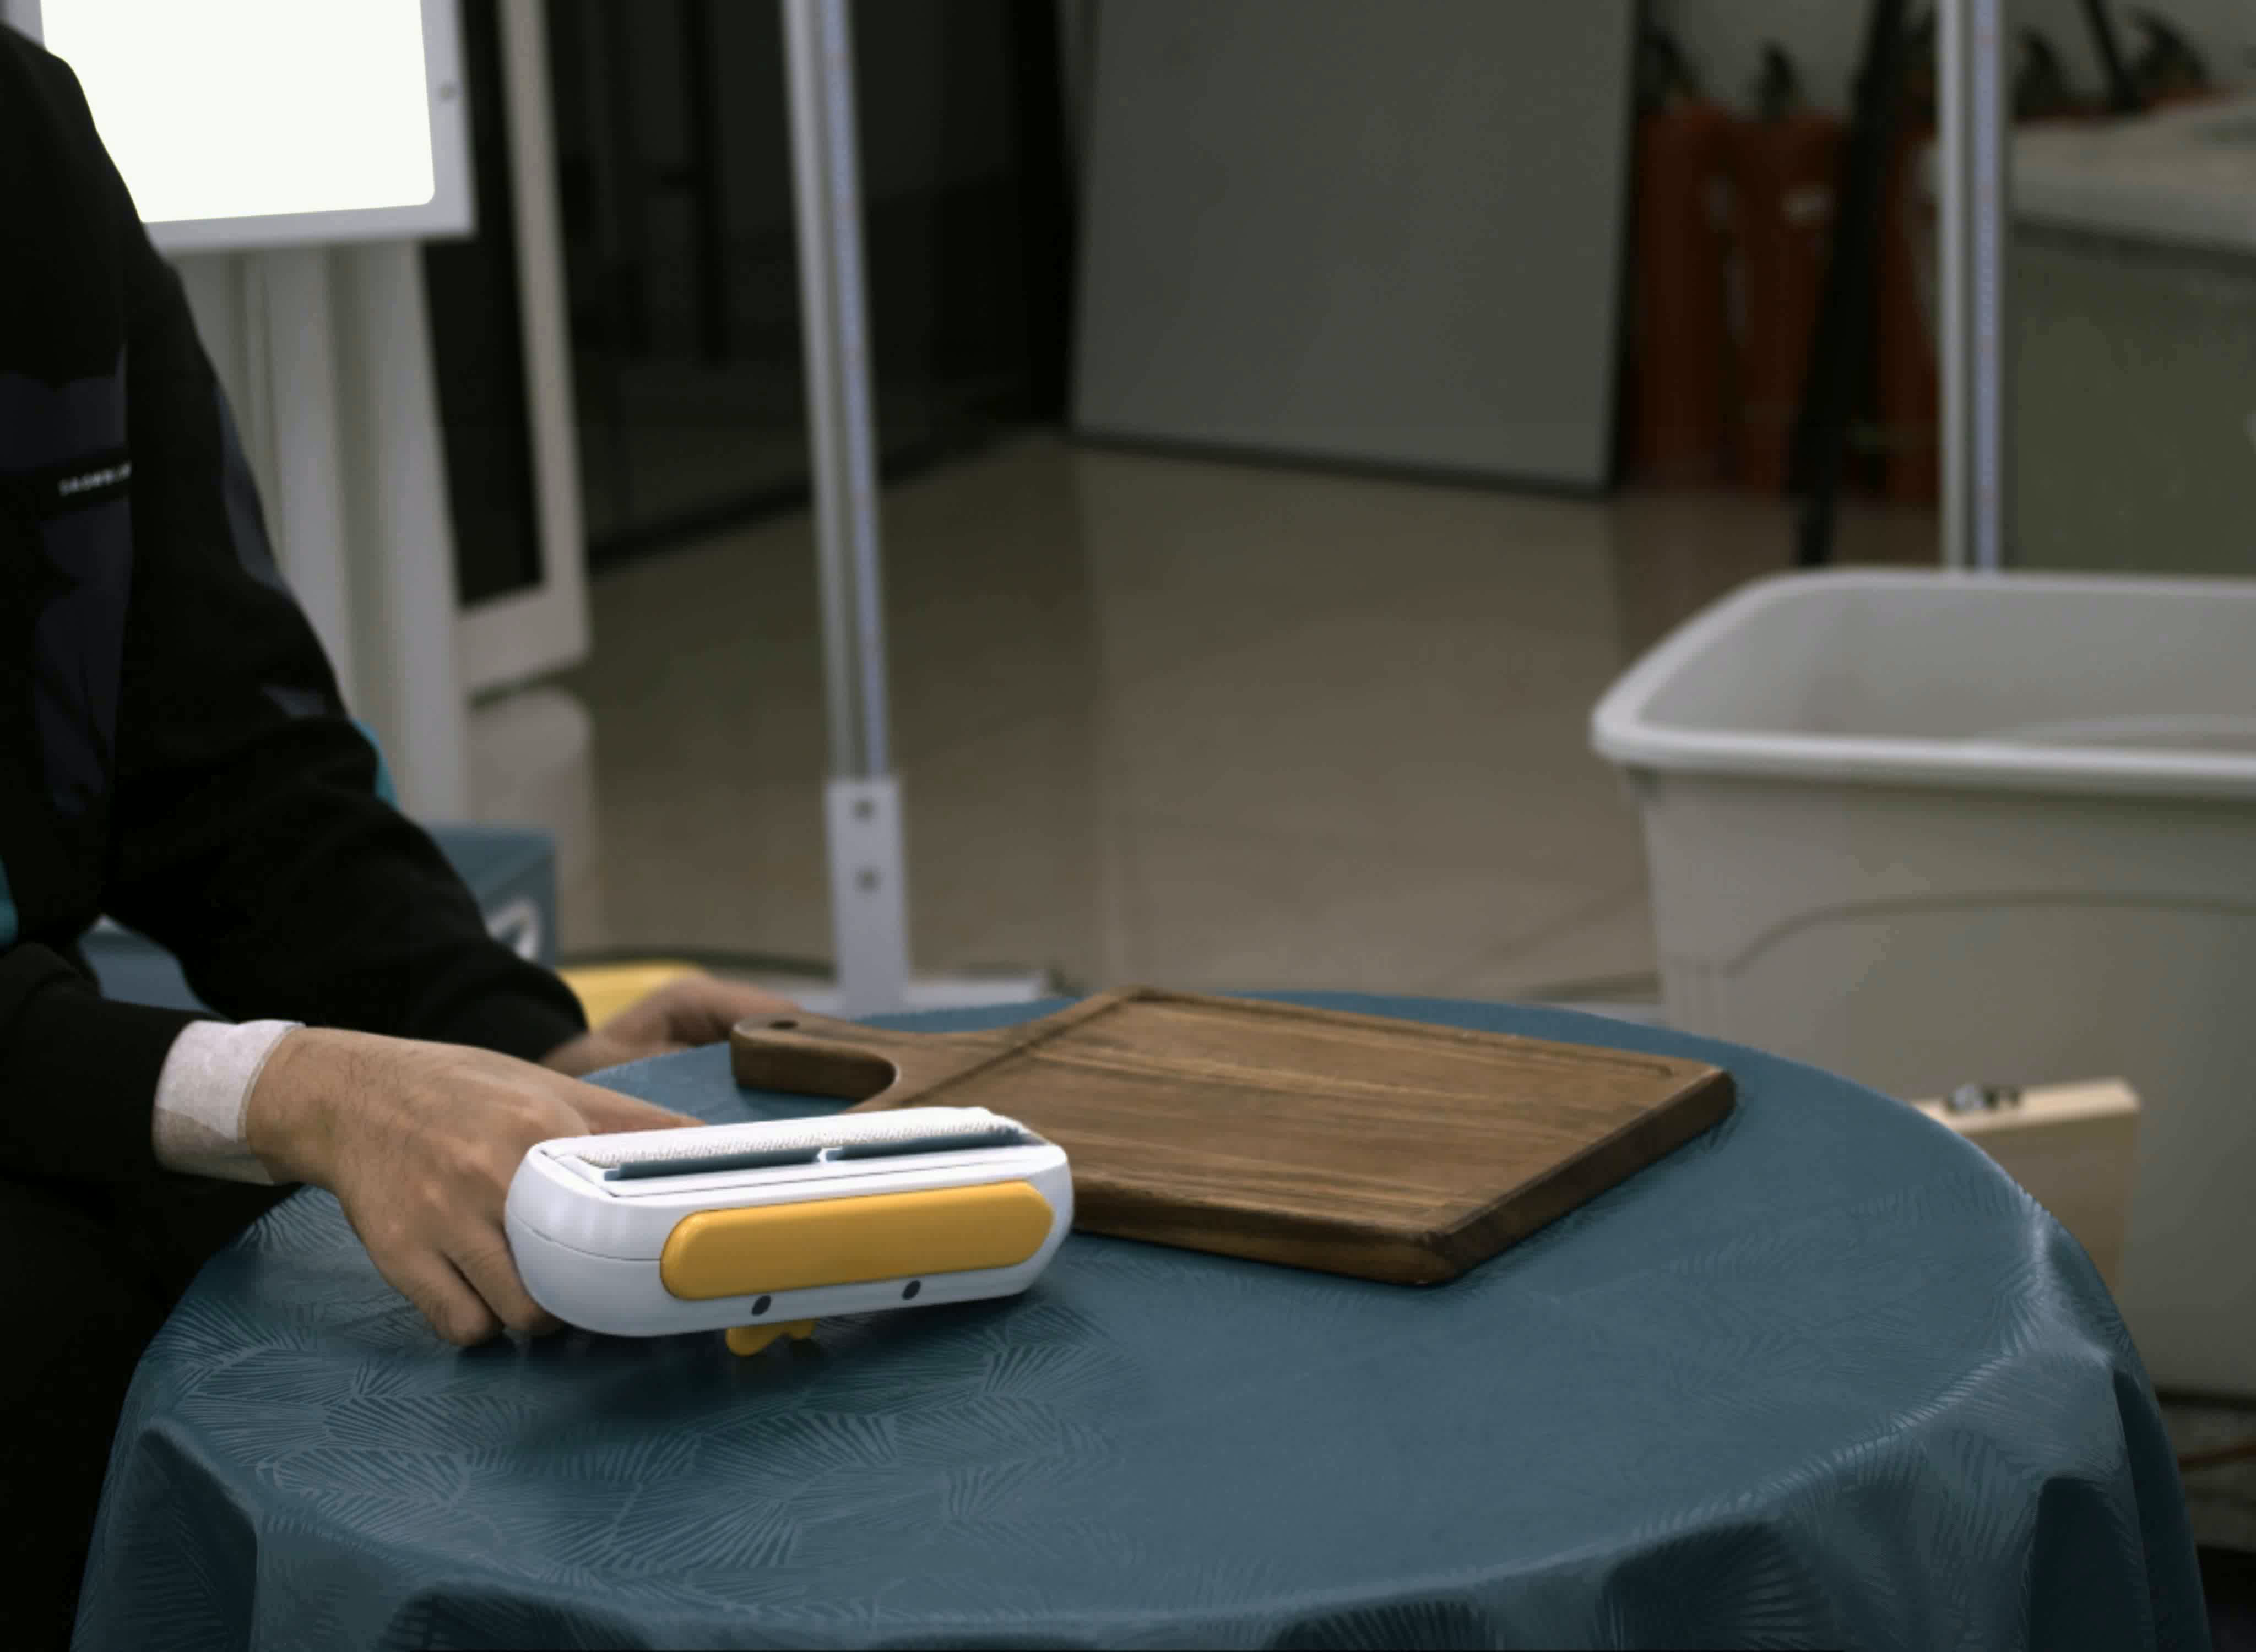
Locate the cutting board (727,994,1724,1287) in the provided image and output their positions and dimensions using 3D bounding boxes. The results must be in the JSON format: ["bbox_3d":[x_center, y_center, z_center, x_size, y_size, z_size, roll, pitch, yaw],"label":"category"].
[{"bbox_3d":[0.007,0.097,1.826,0.354,0.023,0.197,5,17,35],"label":"cutting board"}]

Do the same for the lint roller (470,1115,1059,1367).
[{"bbox_3d":[-0.140,0.119,1.681,0.188,0.075,0.194,-7,11,-35],"label":"lint roller"}]
